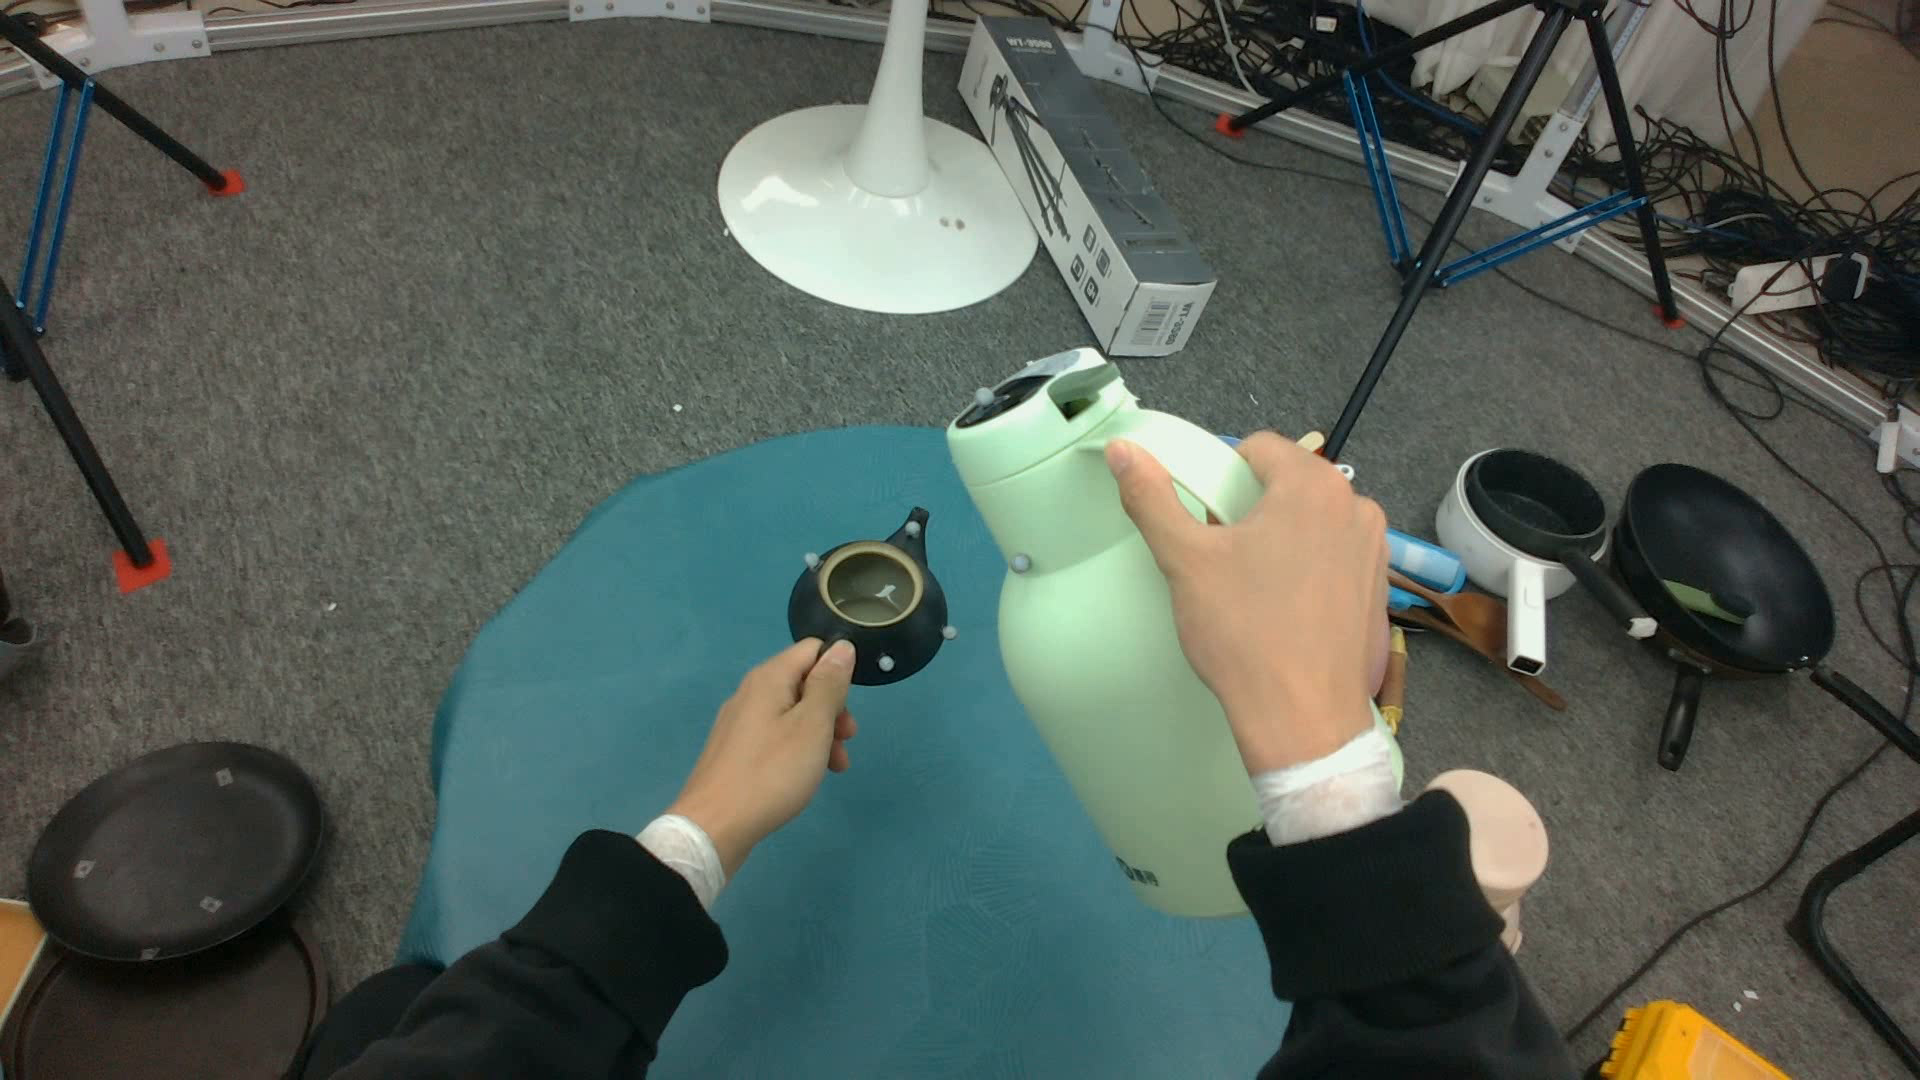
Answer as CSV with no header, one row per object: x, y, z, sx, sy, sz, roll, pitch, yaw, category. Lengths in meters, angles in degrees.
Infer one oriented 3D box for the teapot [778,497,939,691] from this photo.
-0.057,0.034,0.773,0.091,0.053,0.134,22,50,11,teapot

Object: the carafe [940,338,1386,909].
0.091,0.033,0.623,0.145,0.186,0.256,-38,110,-28,carafe
